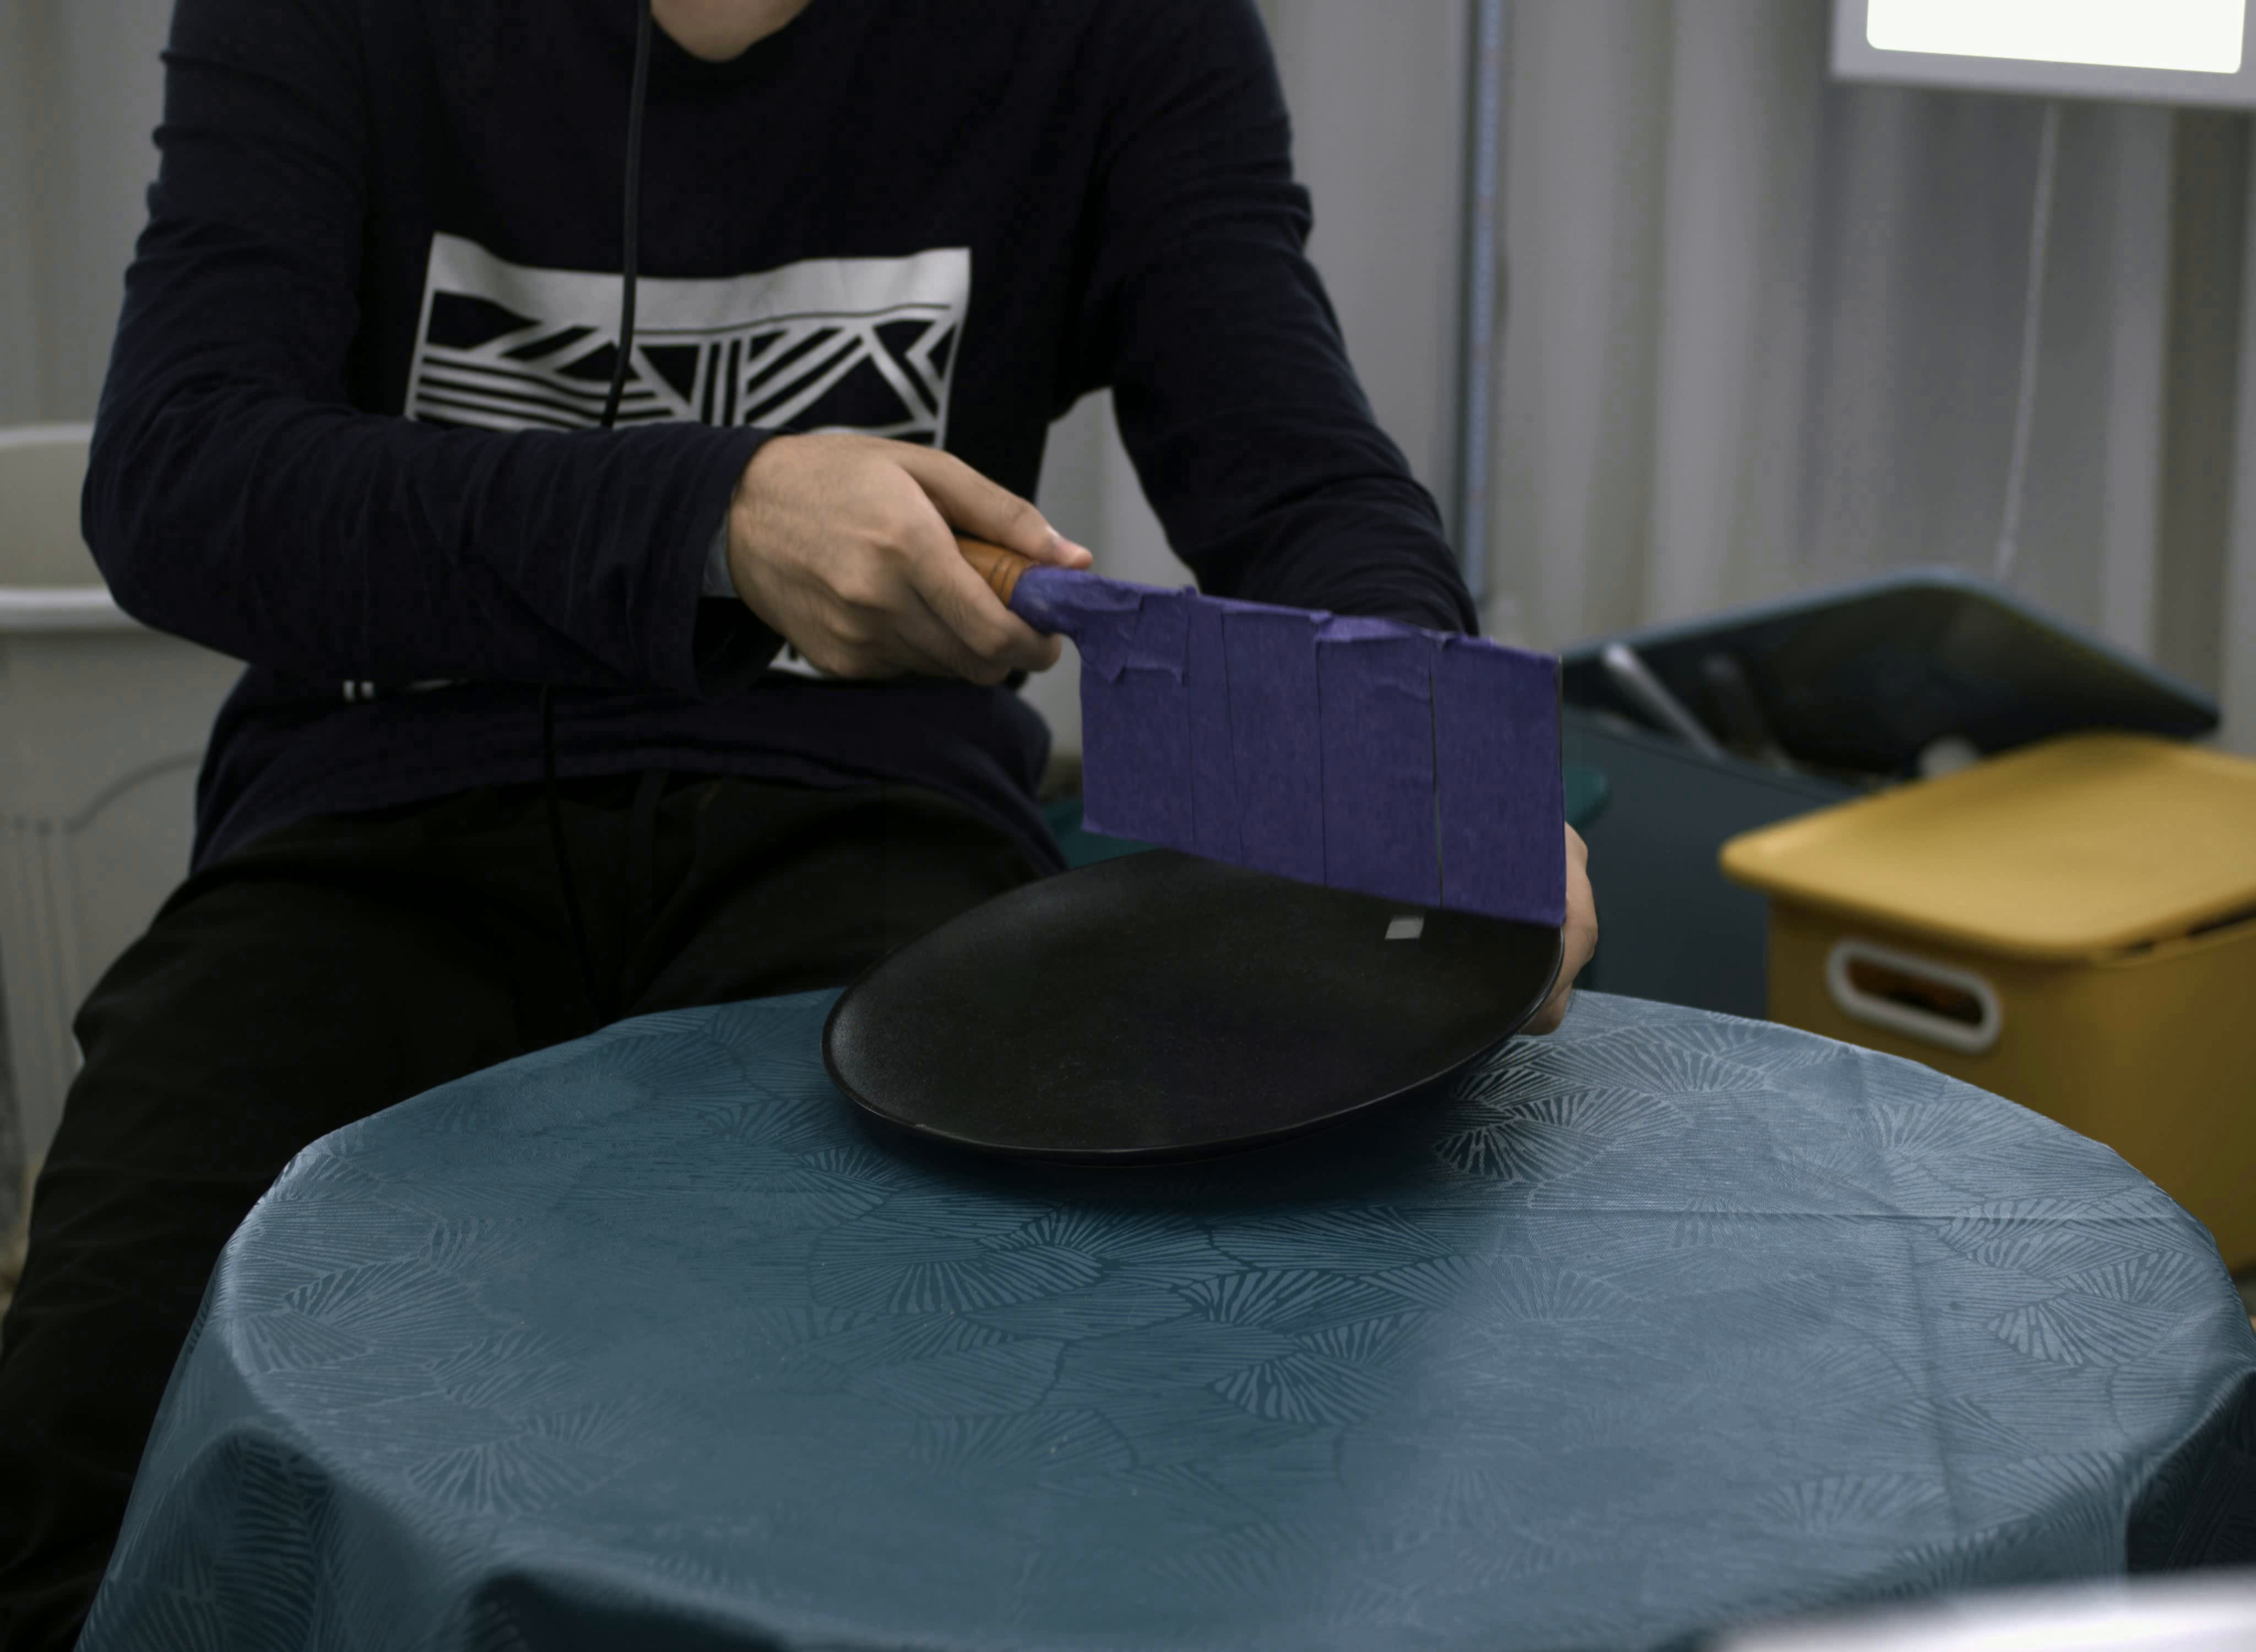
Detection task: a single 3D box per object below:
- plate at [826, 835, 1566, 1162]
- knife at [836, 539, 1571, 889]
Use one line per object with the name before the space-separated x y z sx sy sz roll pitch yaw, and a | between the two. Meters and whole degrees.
plate | 0.022 0.058 1.709 0.243 0.024 0.242 -9 22 4
knife | 0.020 -0.037 1.741 0.311 0.104 0.032 11 19 43
